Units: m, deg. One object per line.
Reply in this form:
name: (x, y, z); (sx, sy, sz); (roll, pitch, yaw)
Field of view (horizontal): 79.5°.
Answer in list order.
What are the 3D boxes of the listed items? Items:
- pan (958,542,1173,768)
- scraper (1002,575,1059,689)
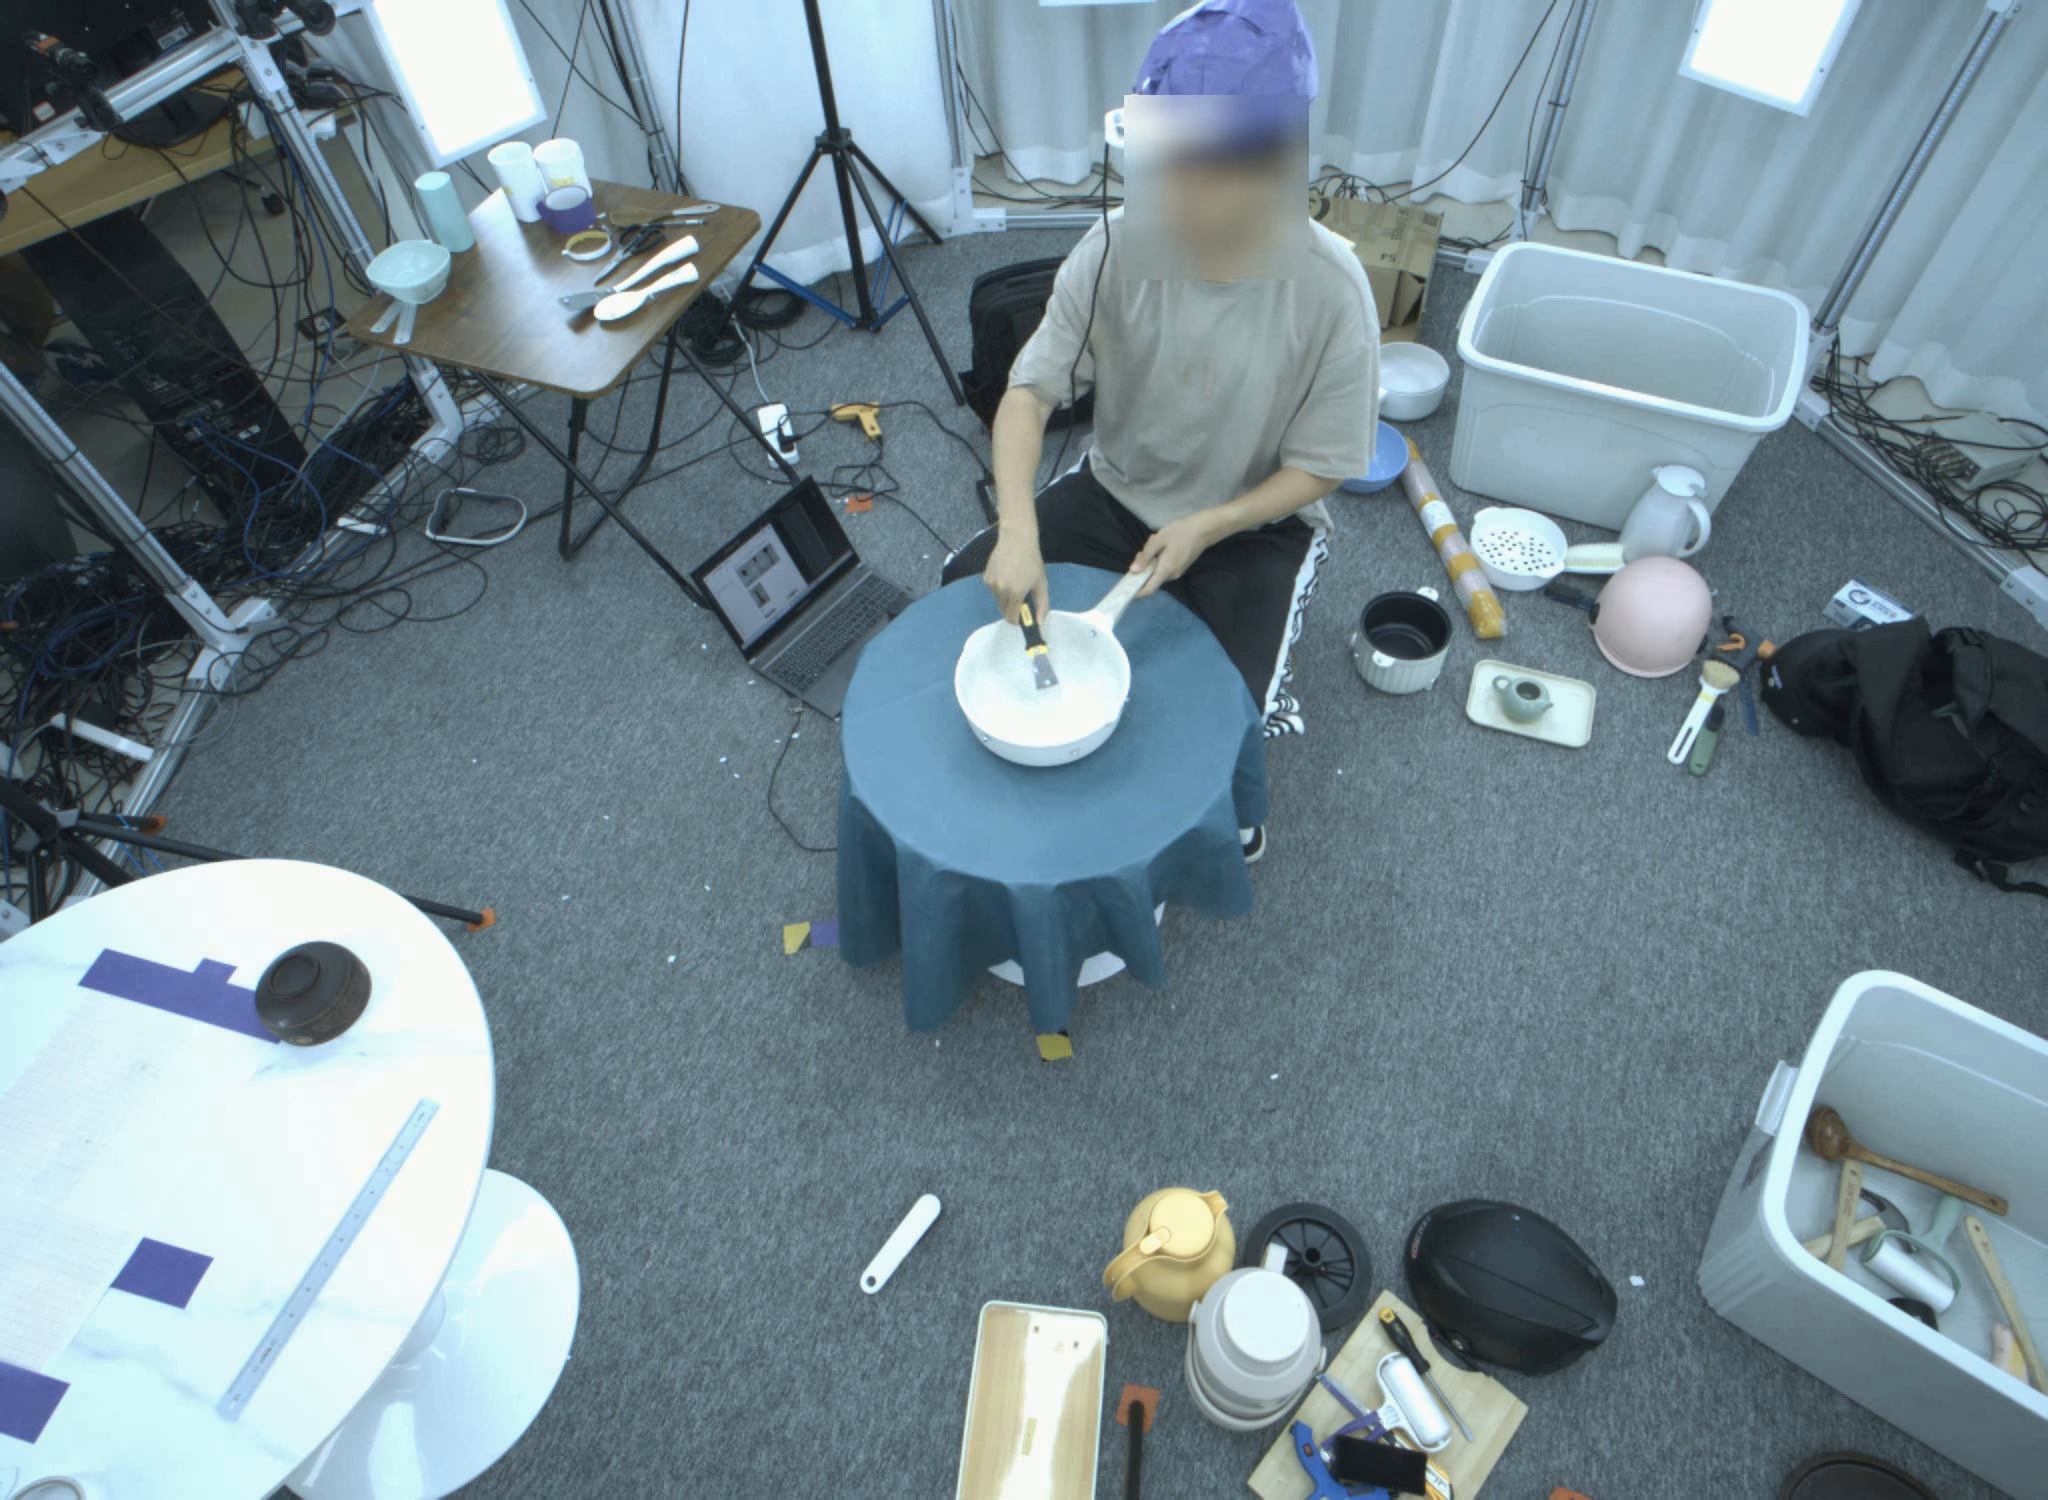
pan: (0.091, -0.145, 1.826); (0.258, 0.103, 0.437); (31, 61, 25)
scraper: (0.006, -0.173, 1.789); (0.038, 0.015, 0.171); (-18, 98, 9)
